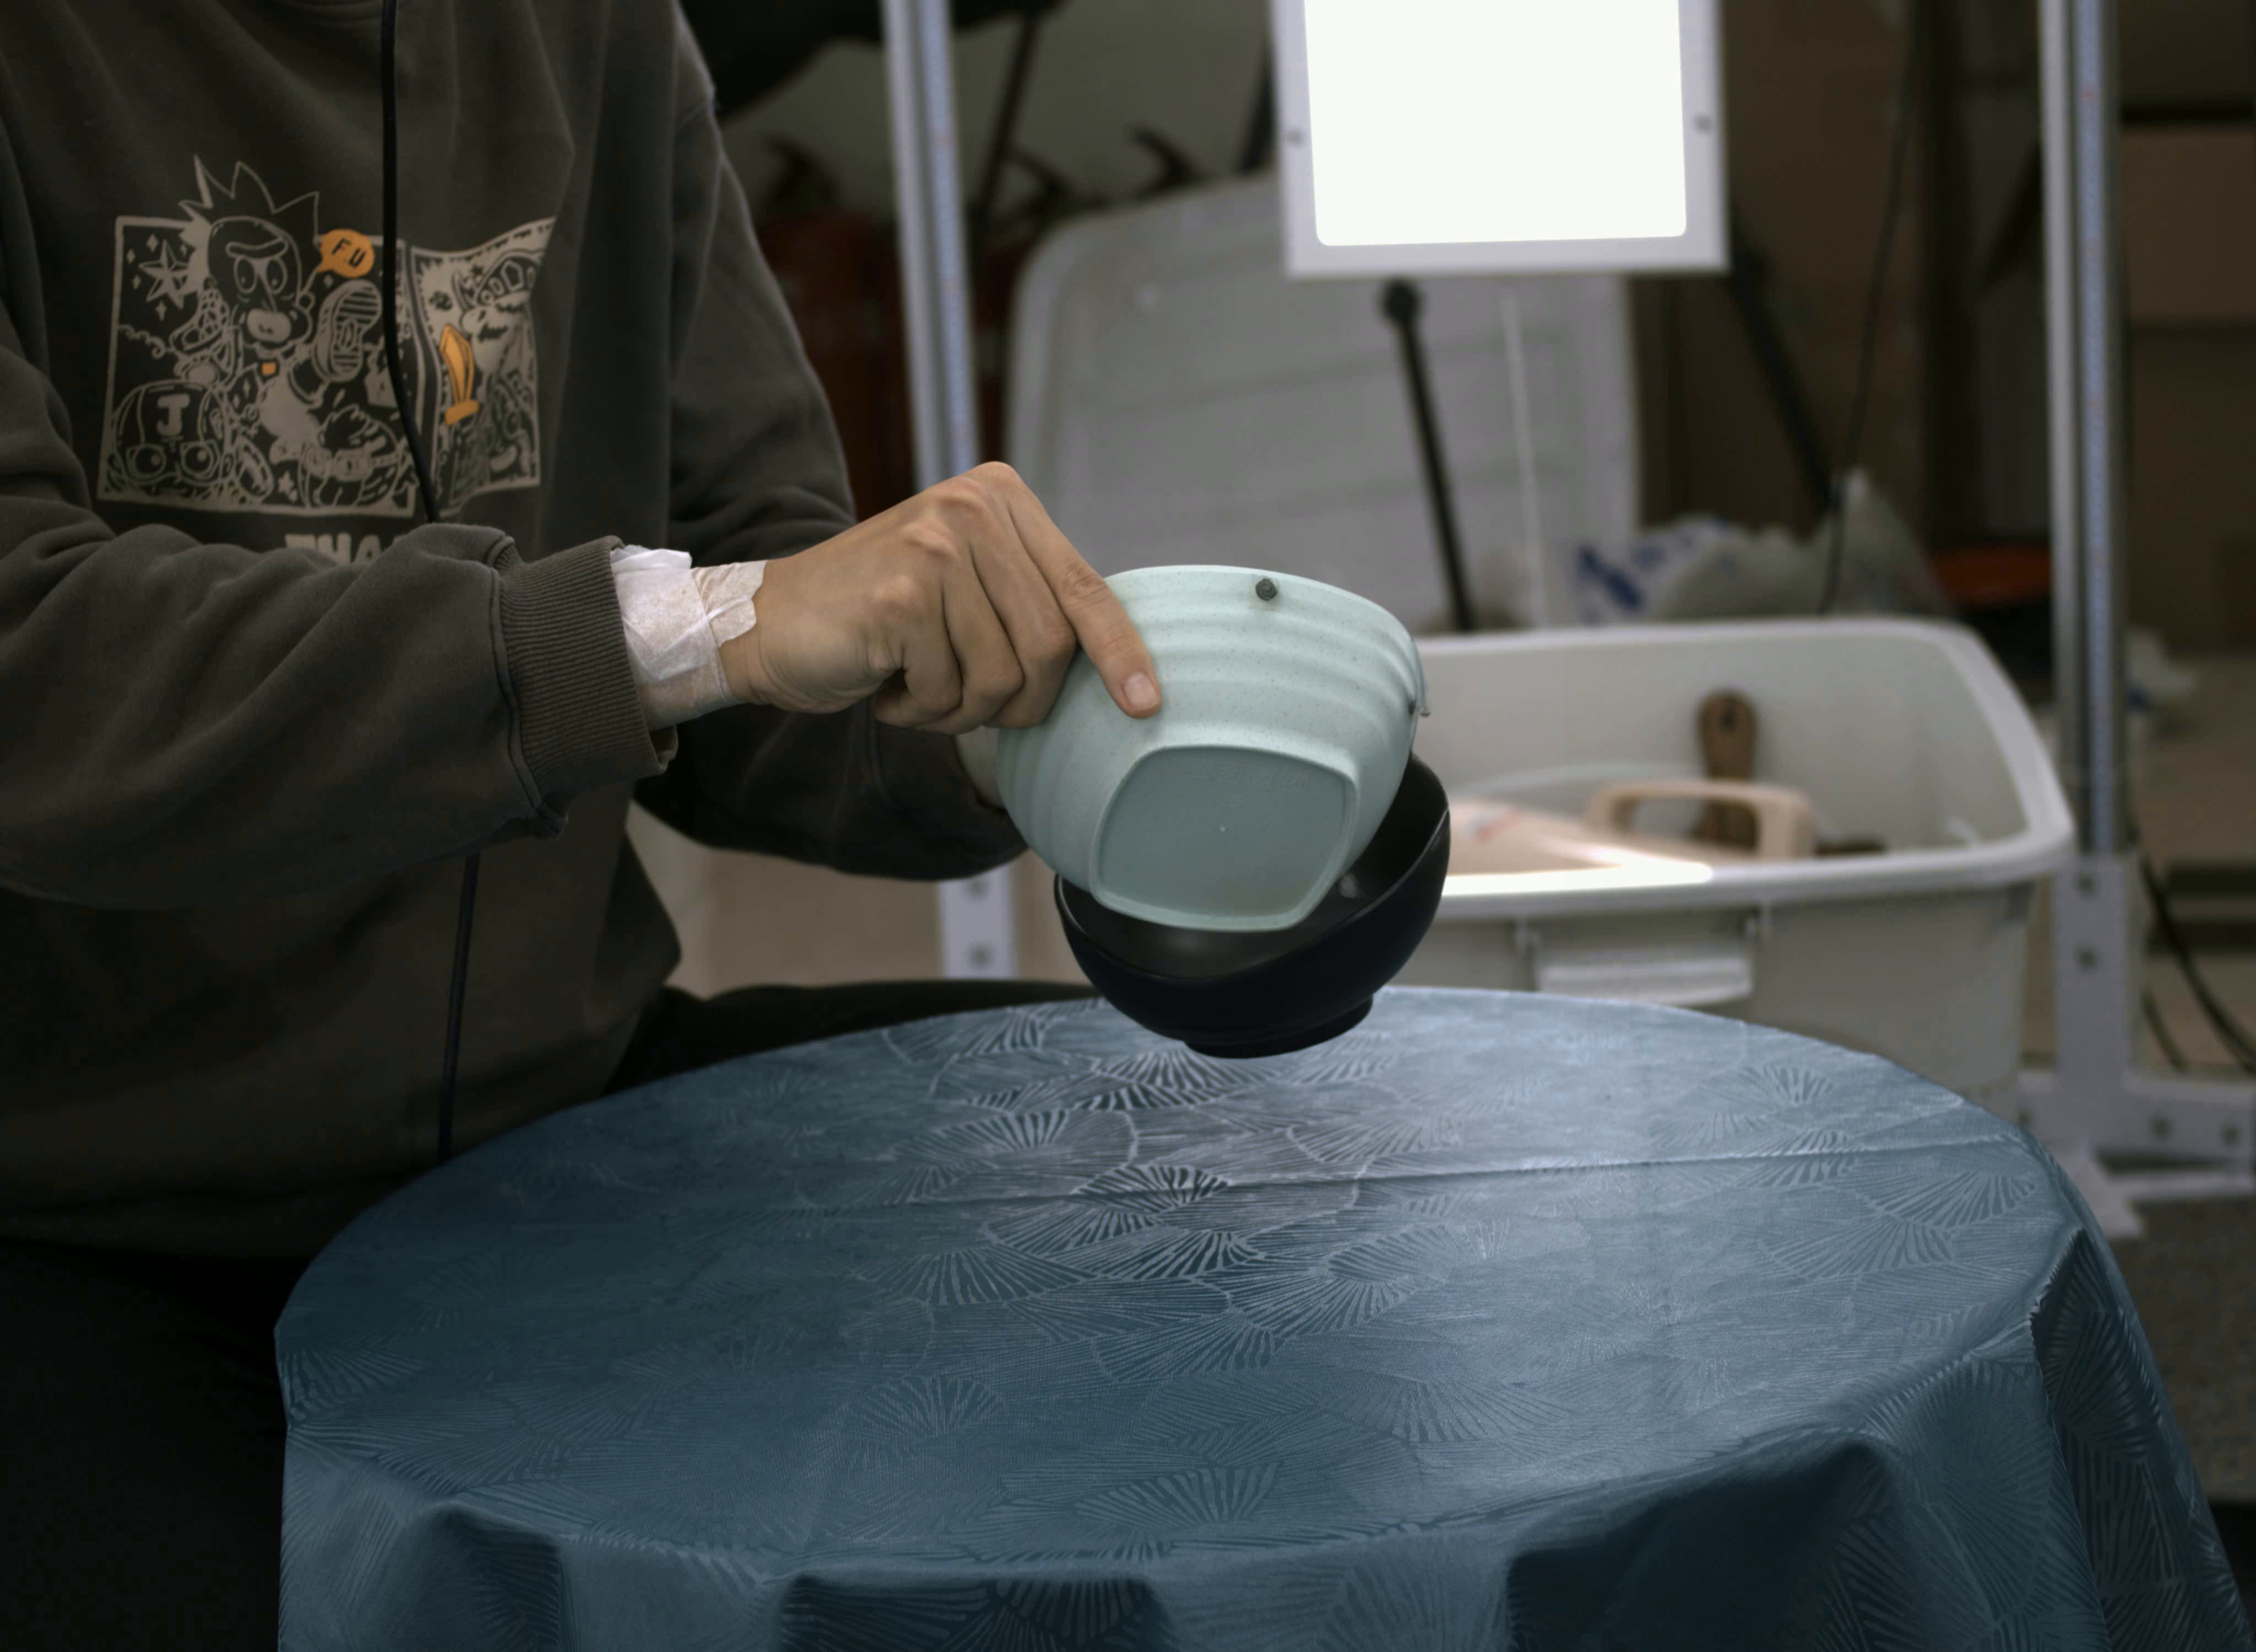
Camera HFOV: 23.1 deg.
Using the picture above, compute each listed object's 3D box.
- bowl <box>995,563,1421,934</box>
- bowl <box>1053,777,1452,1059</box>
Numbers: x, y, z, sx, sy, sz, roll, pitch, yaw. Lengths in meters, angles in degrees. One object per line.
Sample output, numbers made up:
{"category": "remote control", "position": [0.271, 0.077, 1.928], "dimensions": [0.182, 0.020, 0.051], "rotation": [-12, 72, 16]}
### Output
{"category": "bowl", "position": [0.027, -0.015, 1.807], "dimensions": [0.151, 0.152, 0.058], "rotation": [-3, 44, 2]}
{"category": "bowl", "position": [0.047, 0.036, 1.877], "dimensions": [0.138, 0.067, 0.168], "rotation": [-7, 20, 14]}
